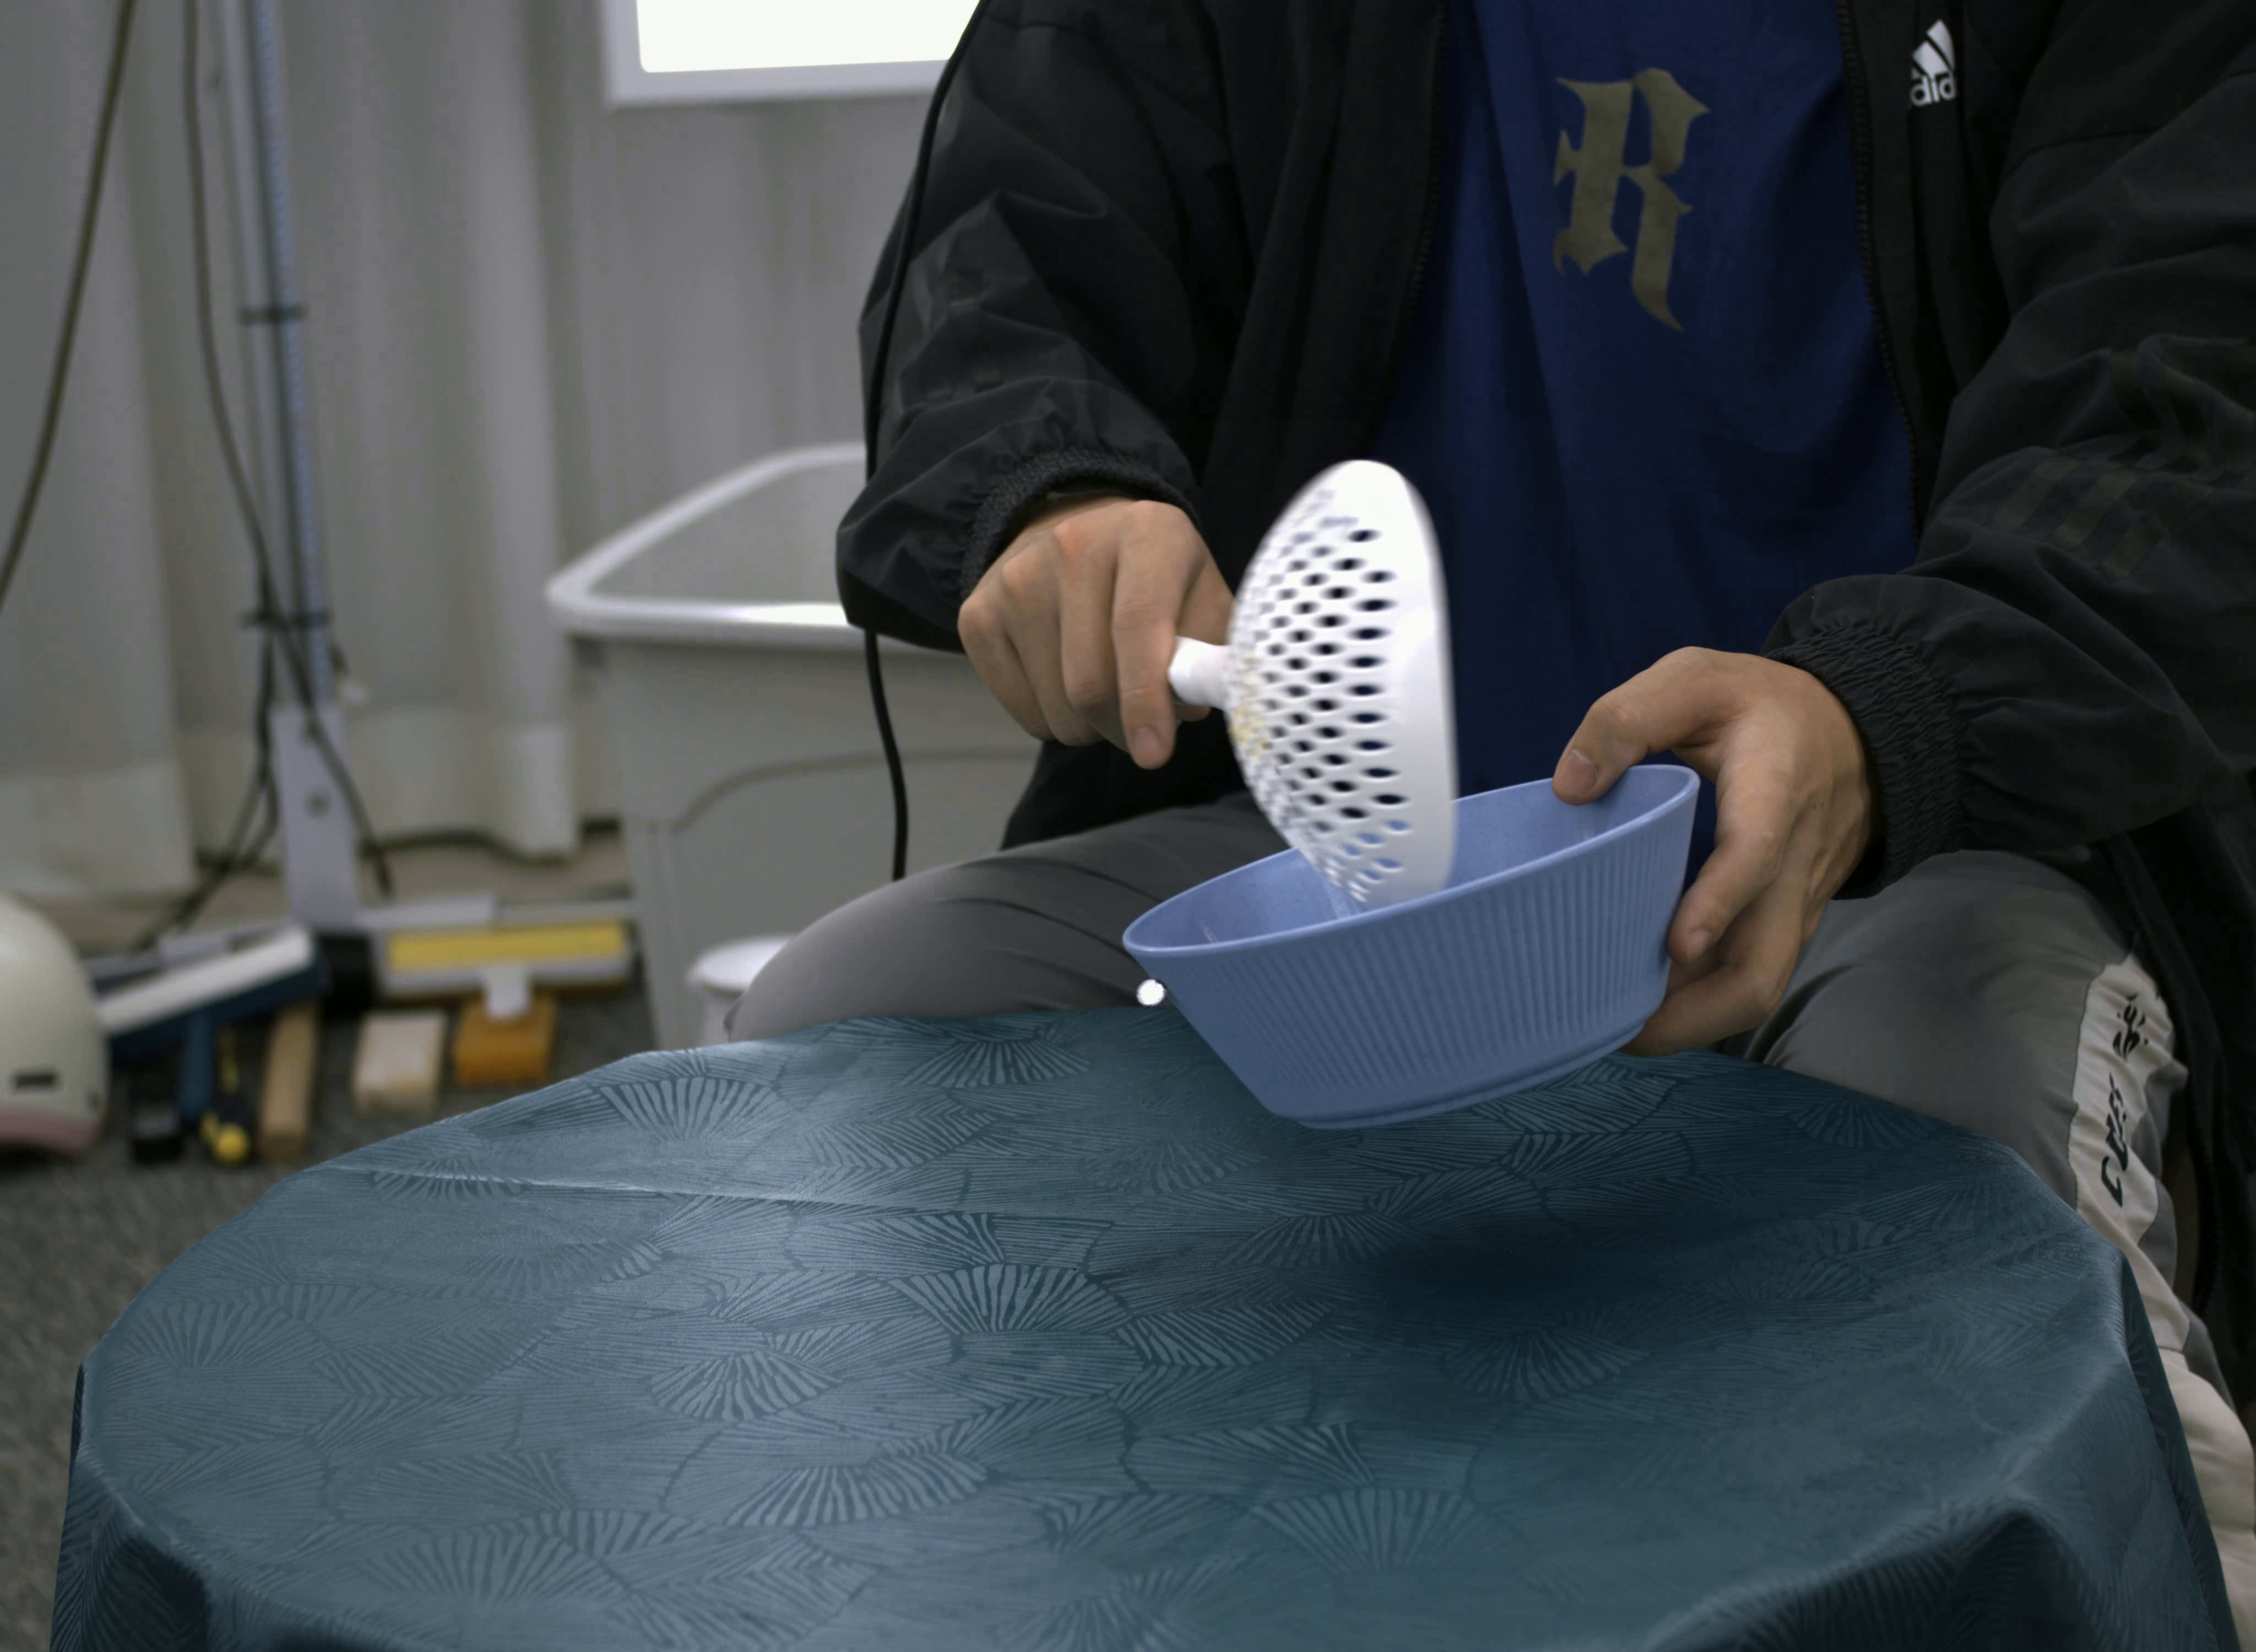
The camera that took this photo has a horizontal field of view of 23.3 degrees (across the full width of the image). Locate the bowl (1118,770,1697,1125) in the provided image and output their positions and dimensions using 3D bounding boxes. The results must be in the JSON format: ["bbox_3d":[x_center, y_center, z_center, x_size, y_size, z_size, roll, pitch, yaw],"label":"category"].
[{"bbox_3d":[0.090,0.039,1.608,0.175,0.070,0.176,-16,8,2],"label":"bowl"}]

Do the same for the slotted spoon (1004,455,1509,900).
[{"bbox_3d":[0.032,-0.046,1.677,0.050,0.137,0.349,-6,7,-16],"label":"slotted spoon"}]
